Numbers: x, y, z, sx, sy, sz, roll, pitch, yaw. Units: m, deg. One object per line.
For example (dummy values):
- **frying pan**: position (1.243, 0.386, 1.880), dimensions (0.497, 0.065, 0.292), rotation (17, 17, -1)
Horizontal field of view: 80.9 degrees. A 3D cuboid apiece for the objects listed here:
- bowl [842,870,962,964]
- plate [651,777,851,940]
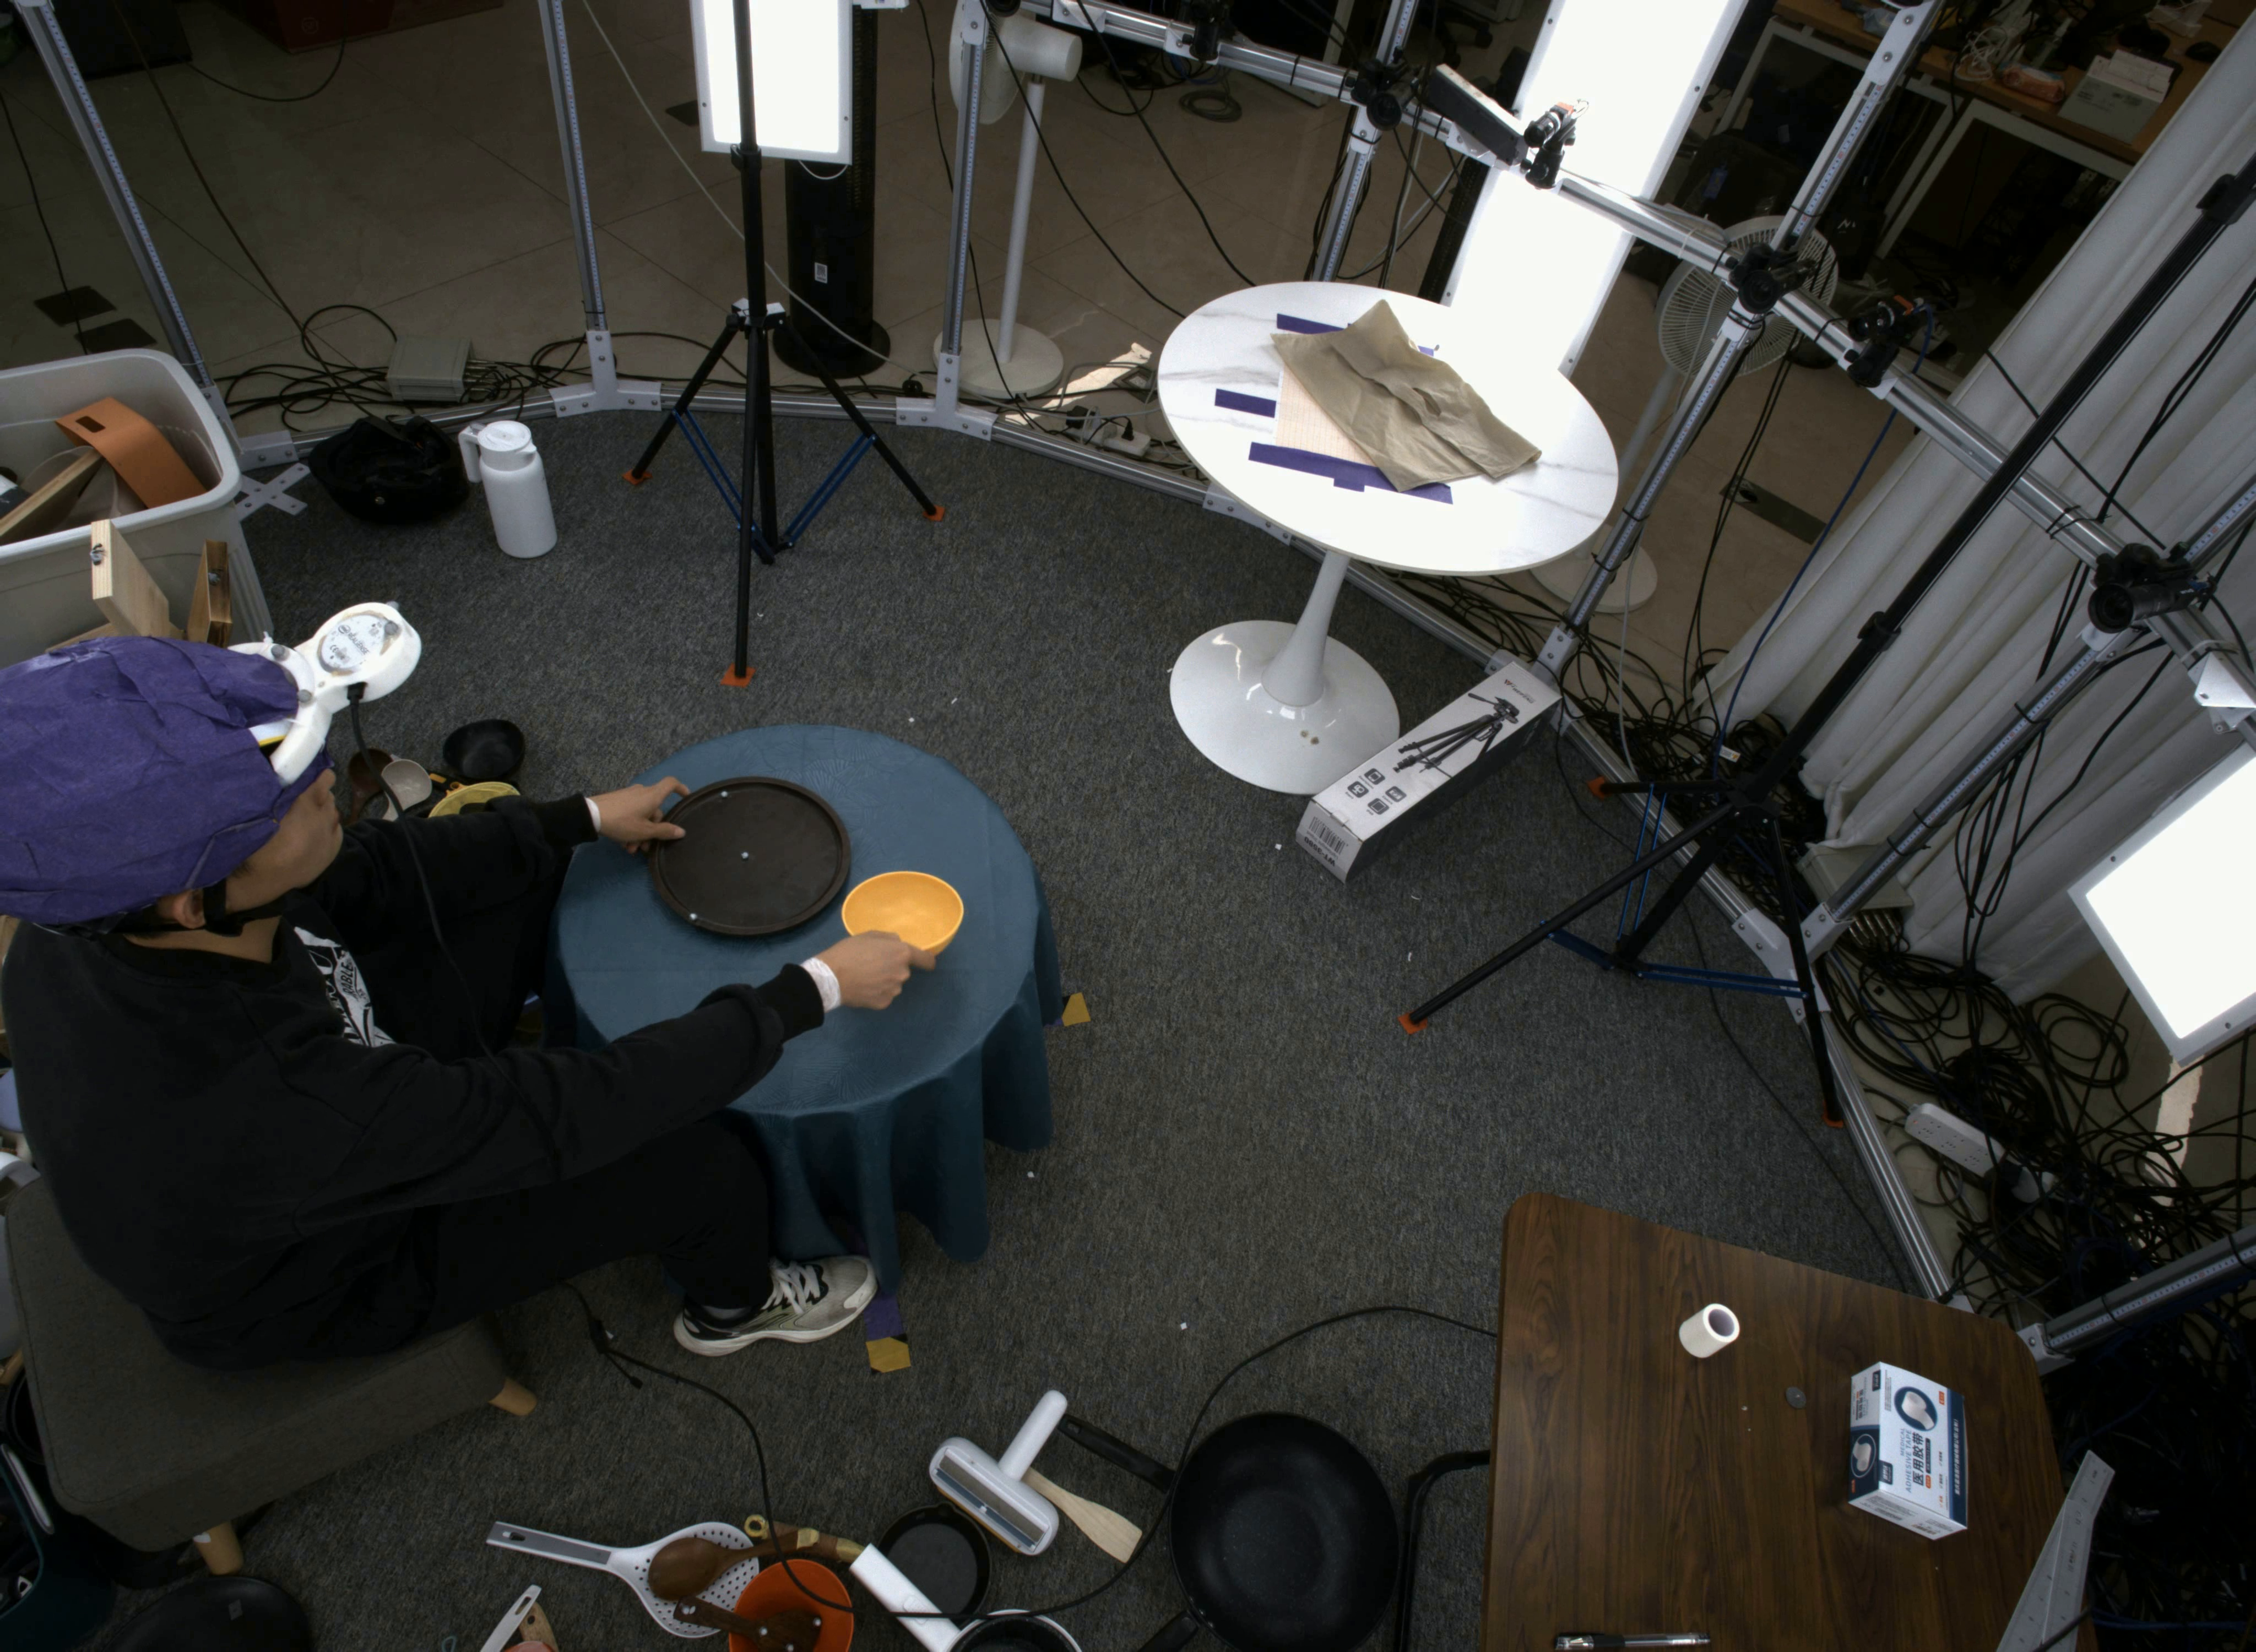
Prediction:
- **bowl**: position (-0.272, 0.120, 1.584), dimensions (0.144, 0.062, 0.142), rotation (2, 40, 0)
- **plate**: position (-0.485, 0.038, 1.670), dimensions (0.254, 0.029, 0.250), rotation (8, 54, -9)
